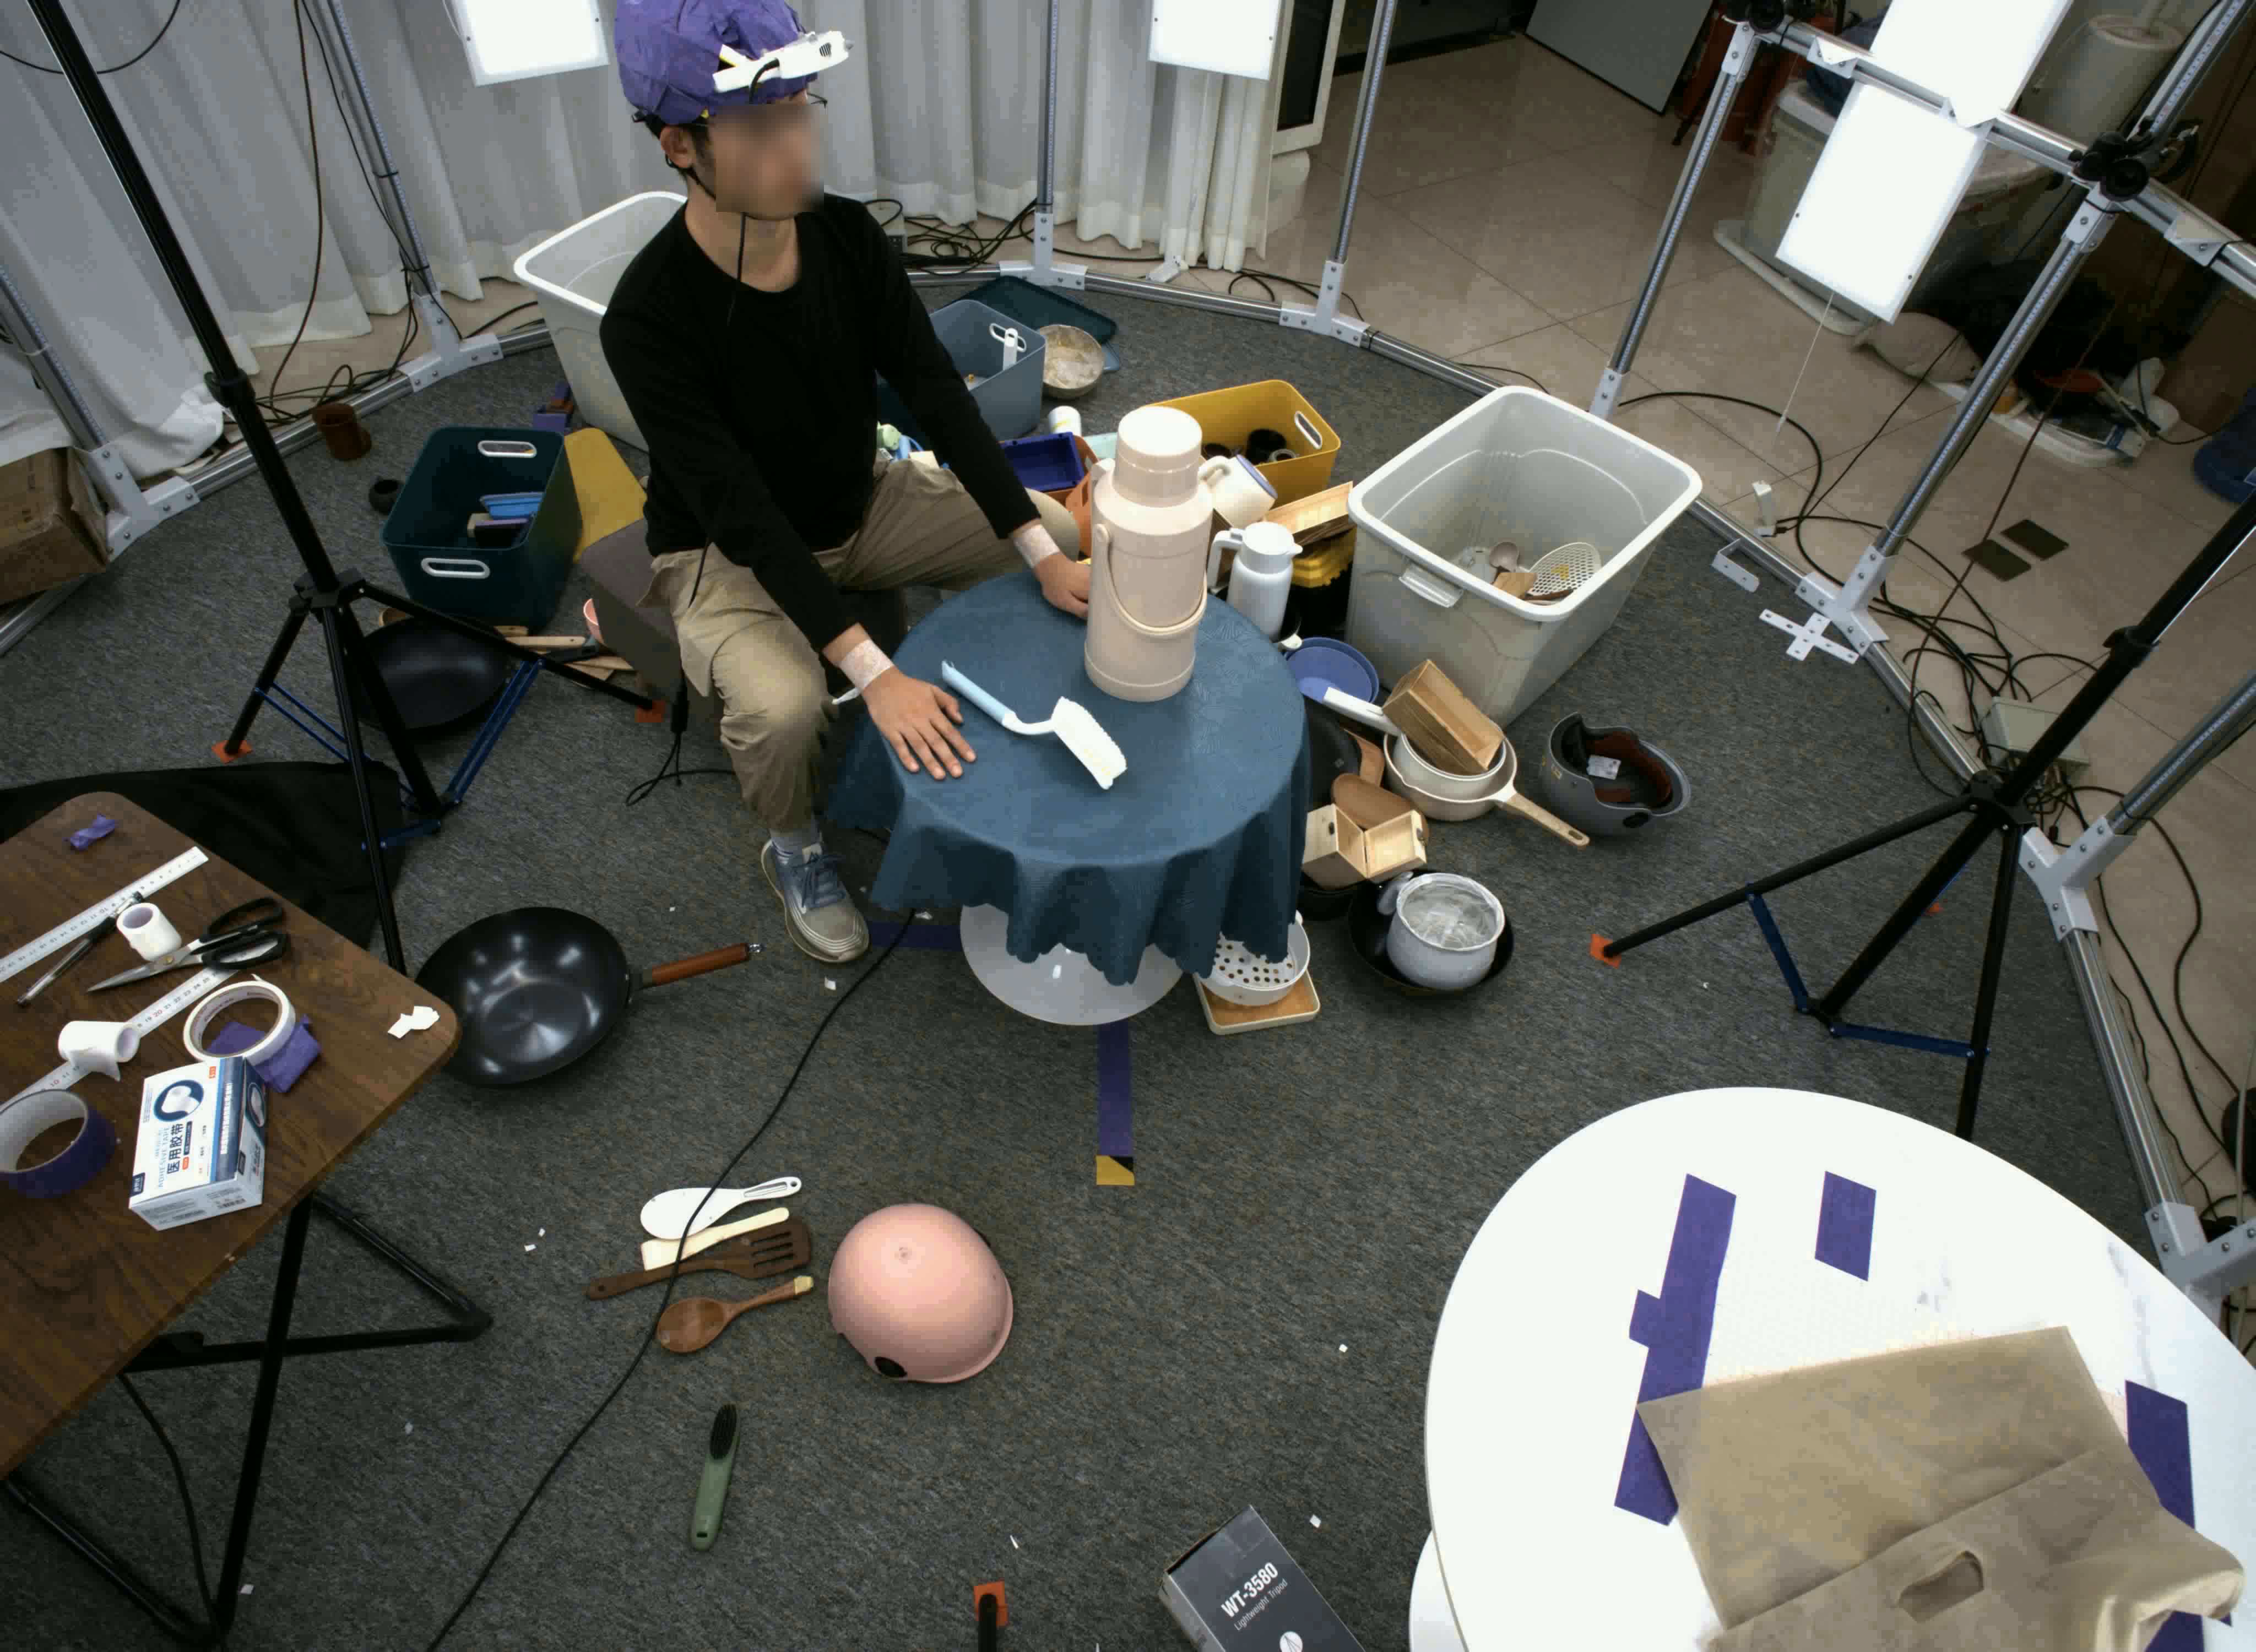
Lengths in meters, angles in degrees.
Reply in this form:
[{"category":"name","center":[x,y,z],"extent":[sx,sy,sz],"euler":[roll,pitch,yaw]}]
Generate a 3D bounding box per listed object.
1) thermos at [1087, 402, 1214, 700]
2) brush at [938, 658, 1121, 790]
[{"category":"thermos","center":[0.021,-0.374,1.740],"extent":[0.176,0.396,0.211],"euler":[-31,58,-25]},{"category":"brush","center":[-0.131,-0.168,1.756],"extent":[0.330,0.081,0.085],"euler":[37,61,24]}]
